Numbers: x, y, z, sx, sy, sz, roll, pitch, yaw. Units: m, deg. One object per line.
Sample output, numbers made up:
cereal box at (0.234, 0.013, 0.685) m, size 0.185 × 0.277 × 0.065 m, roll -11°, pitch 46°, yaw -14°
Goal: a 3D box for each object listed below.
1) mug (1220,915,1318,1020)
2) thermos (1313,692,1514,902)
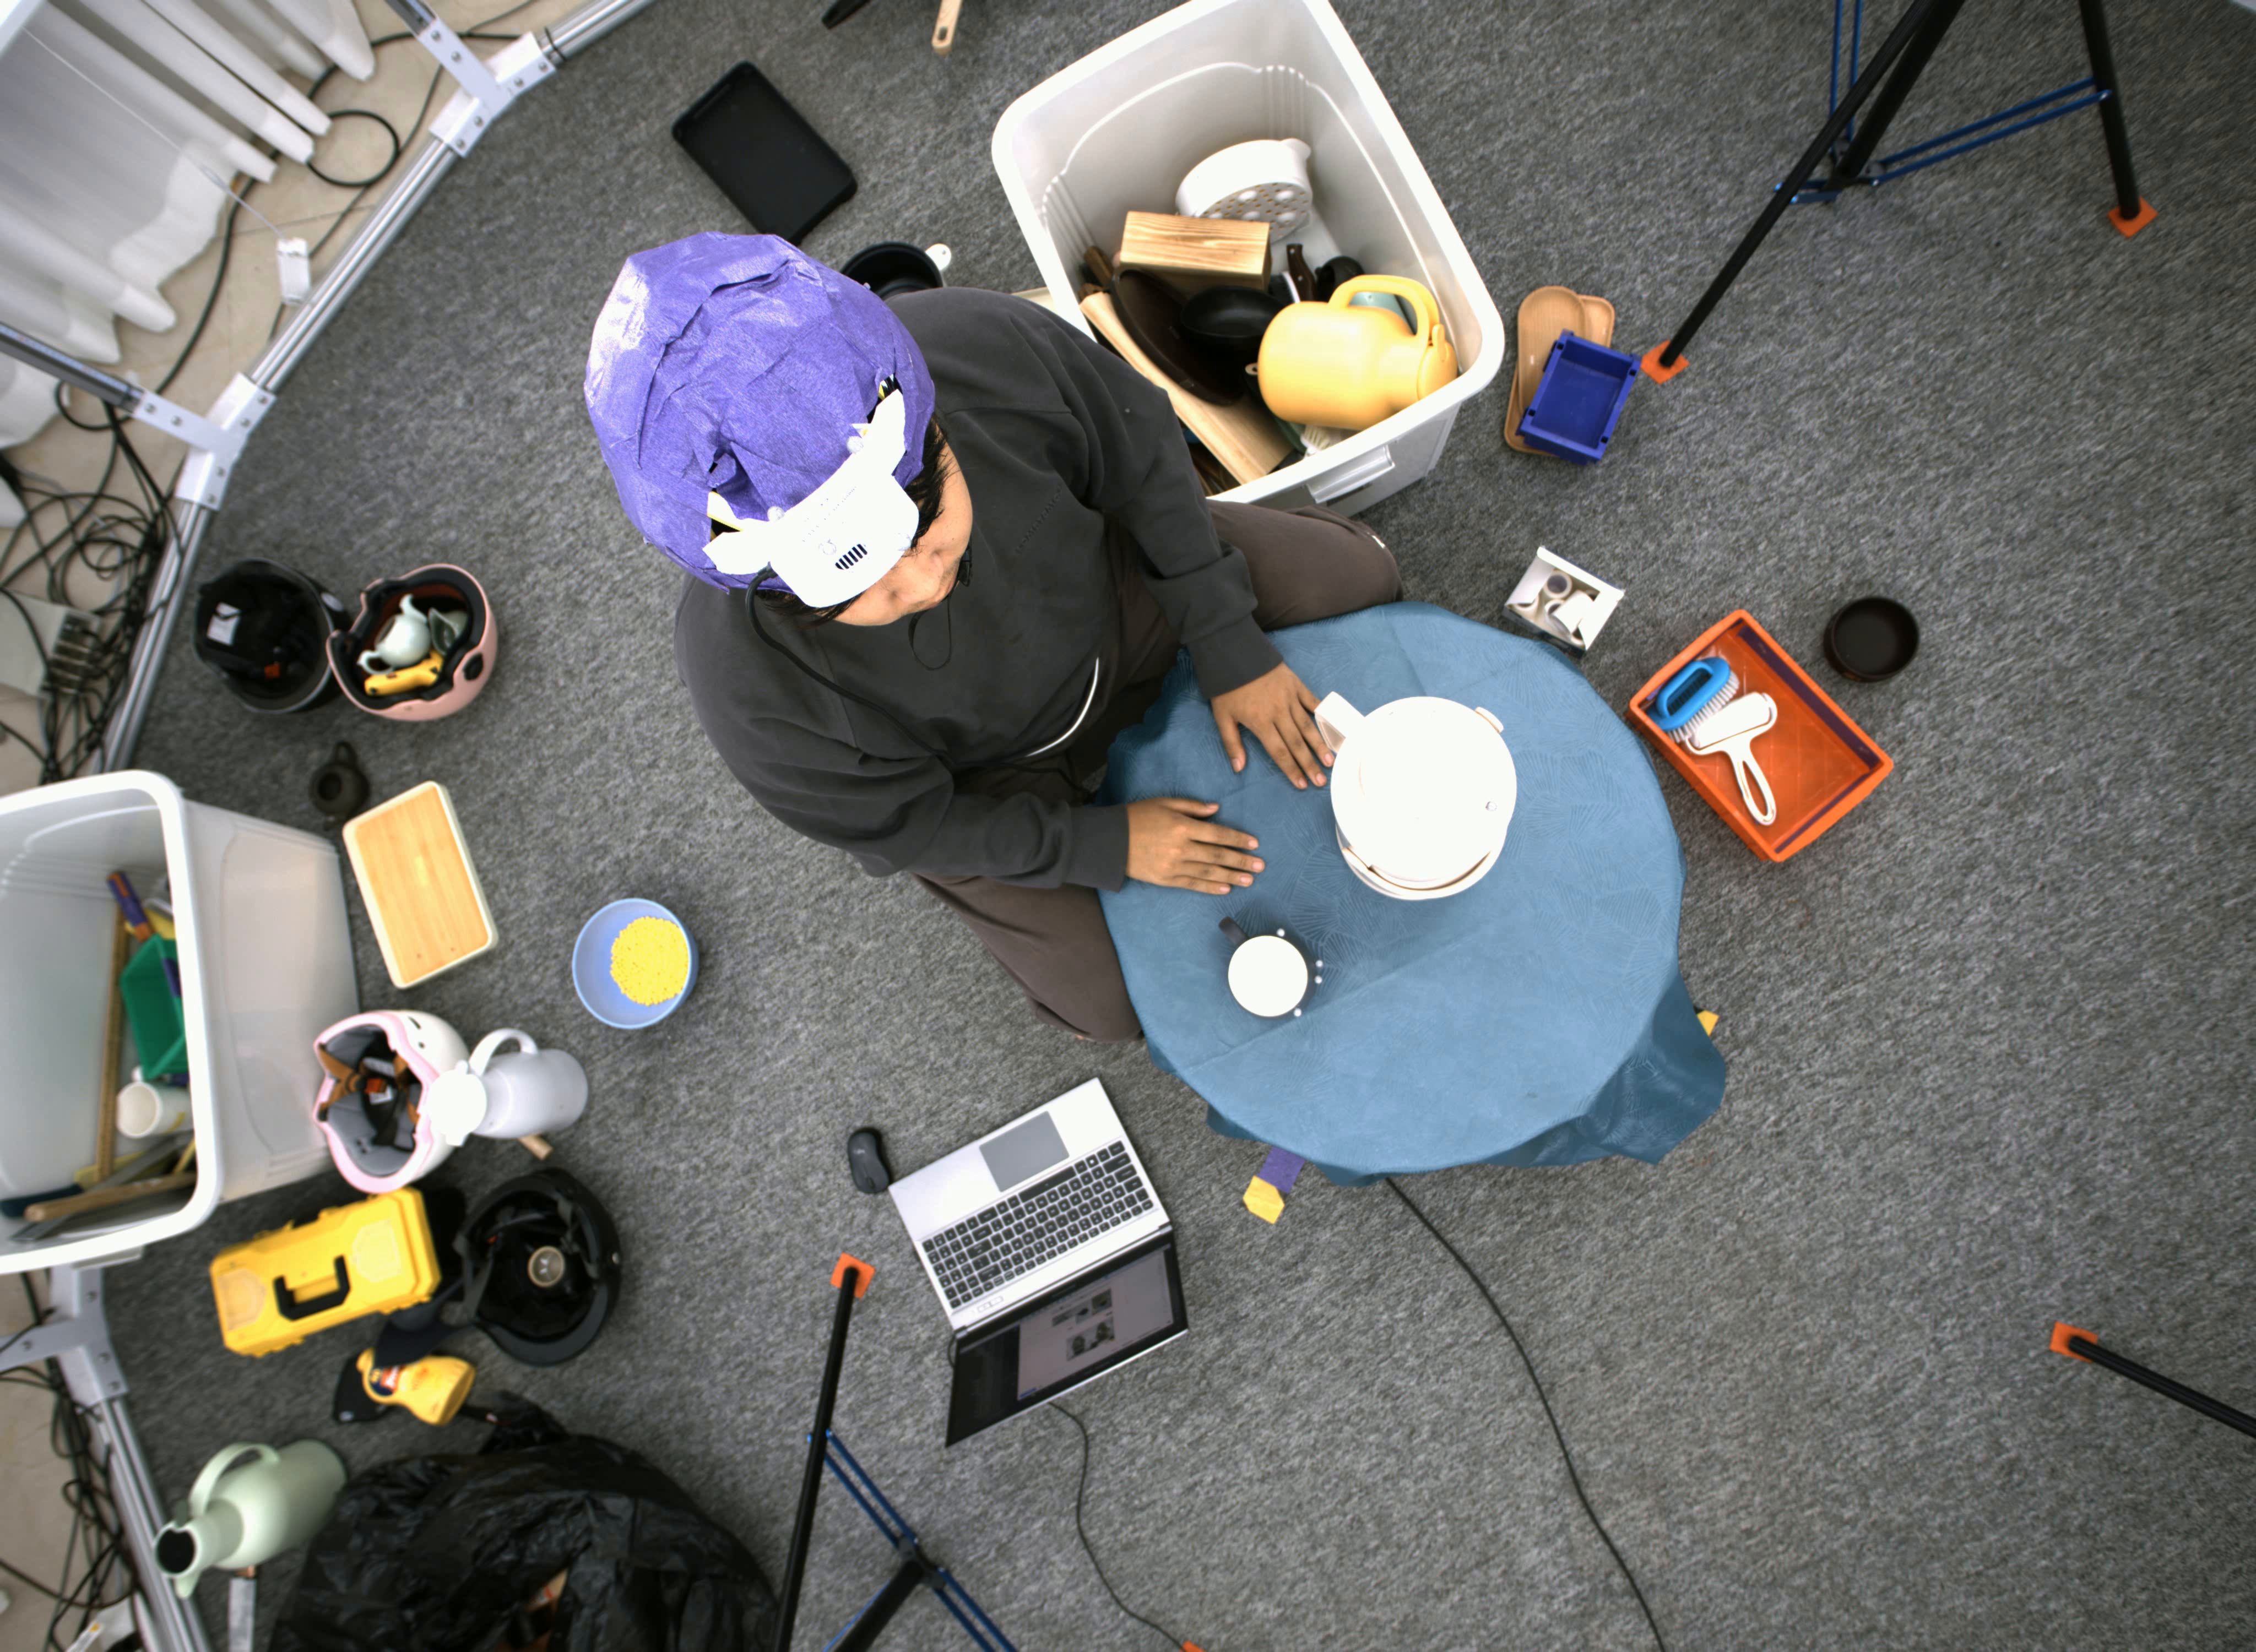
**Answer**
mug at (0.139, 0.142, 1.436) m, size 0.094 × 0.090 × 0.122 m, roll -39°, pitch 80°, yaw 5°
thermos at (0.256, -0.033, 1.268) m, size 0.206 × 0.407 × 0.176 m, roll 43°, pitch 93°, yaw 11°
